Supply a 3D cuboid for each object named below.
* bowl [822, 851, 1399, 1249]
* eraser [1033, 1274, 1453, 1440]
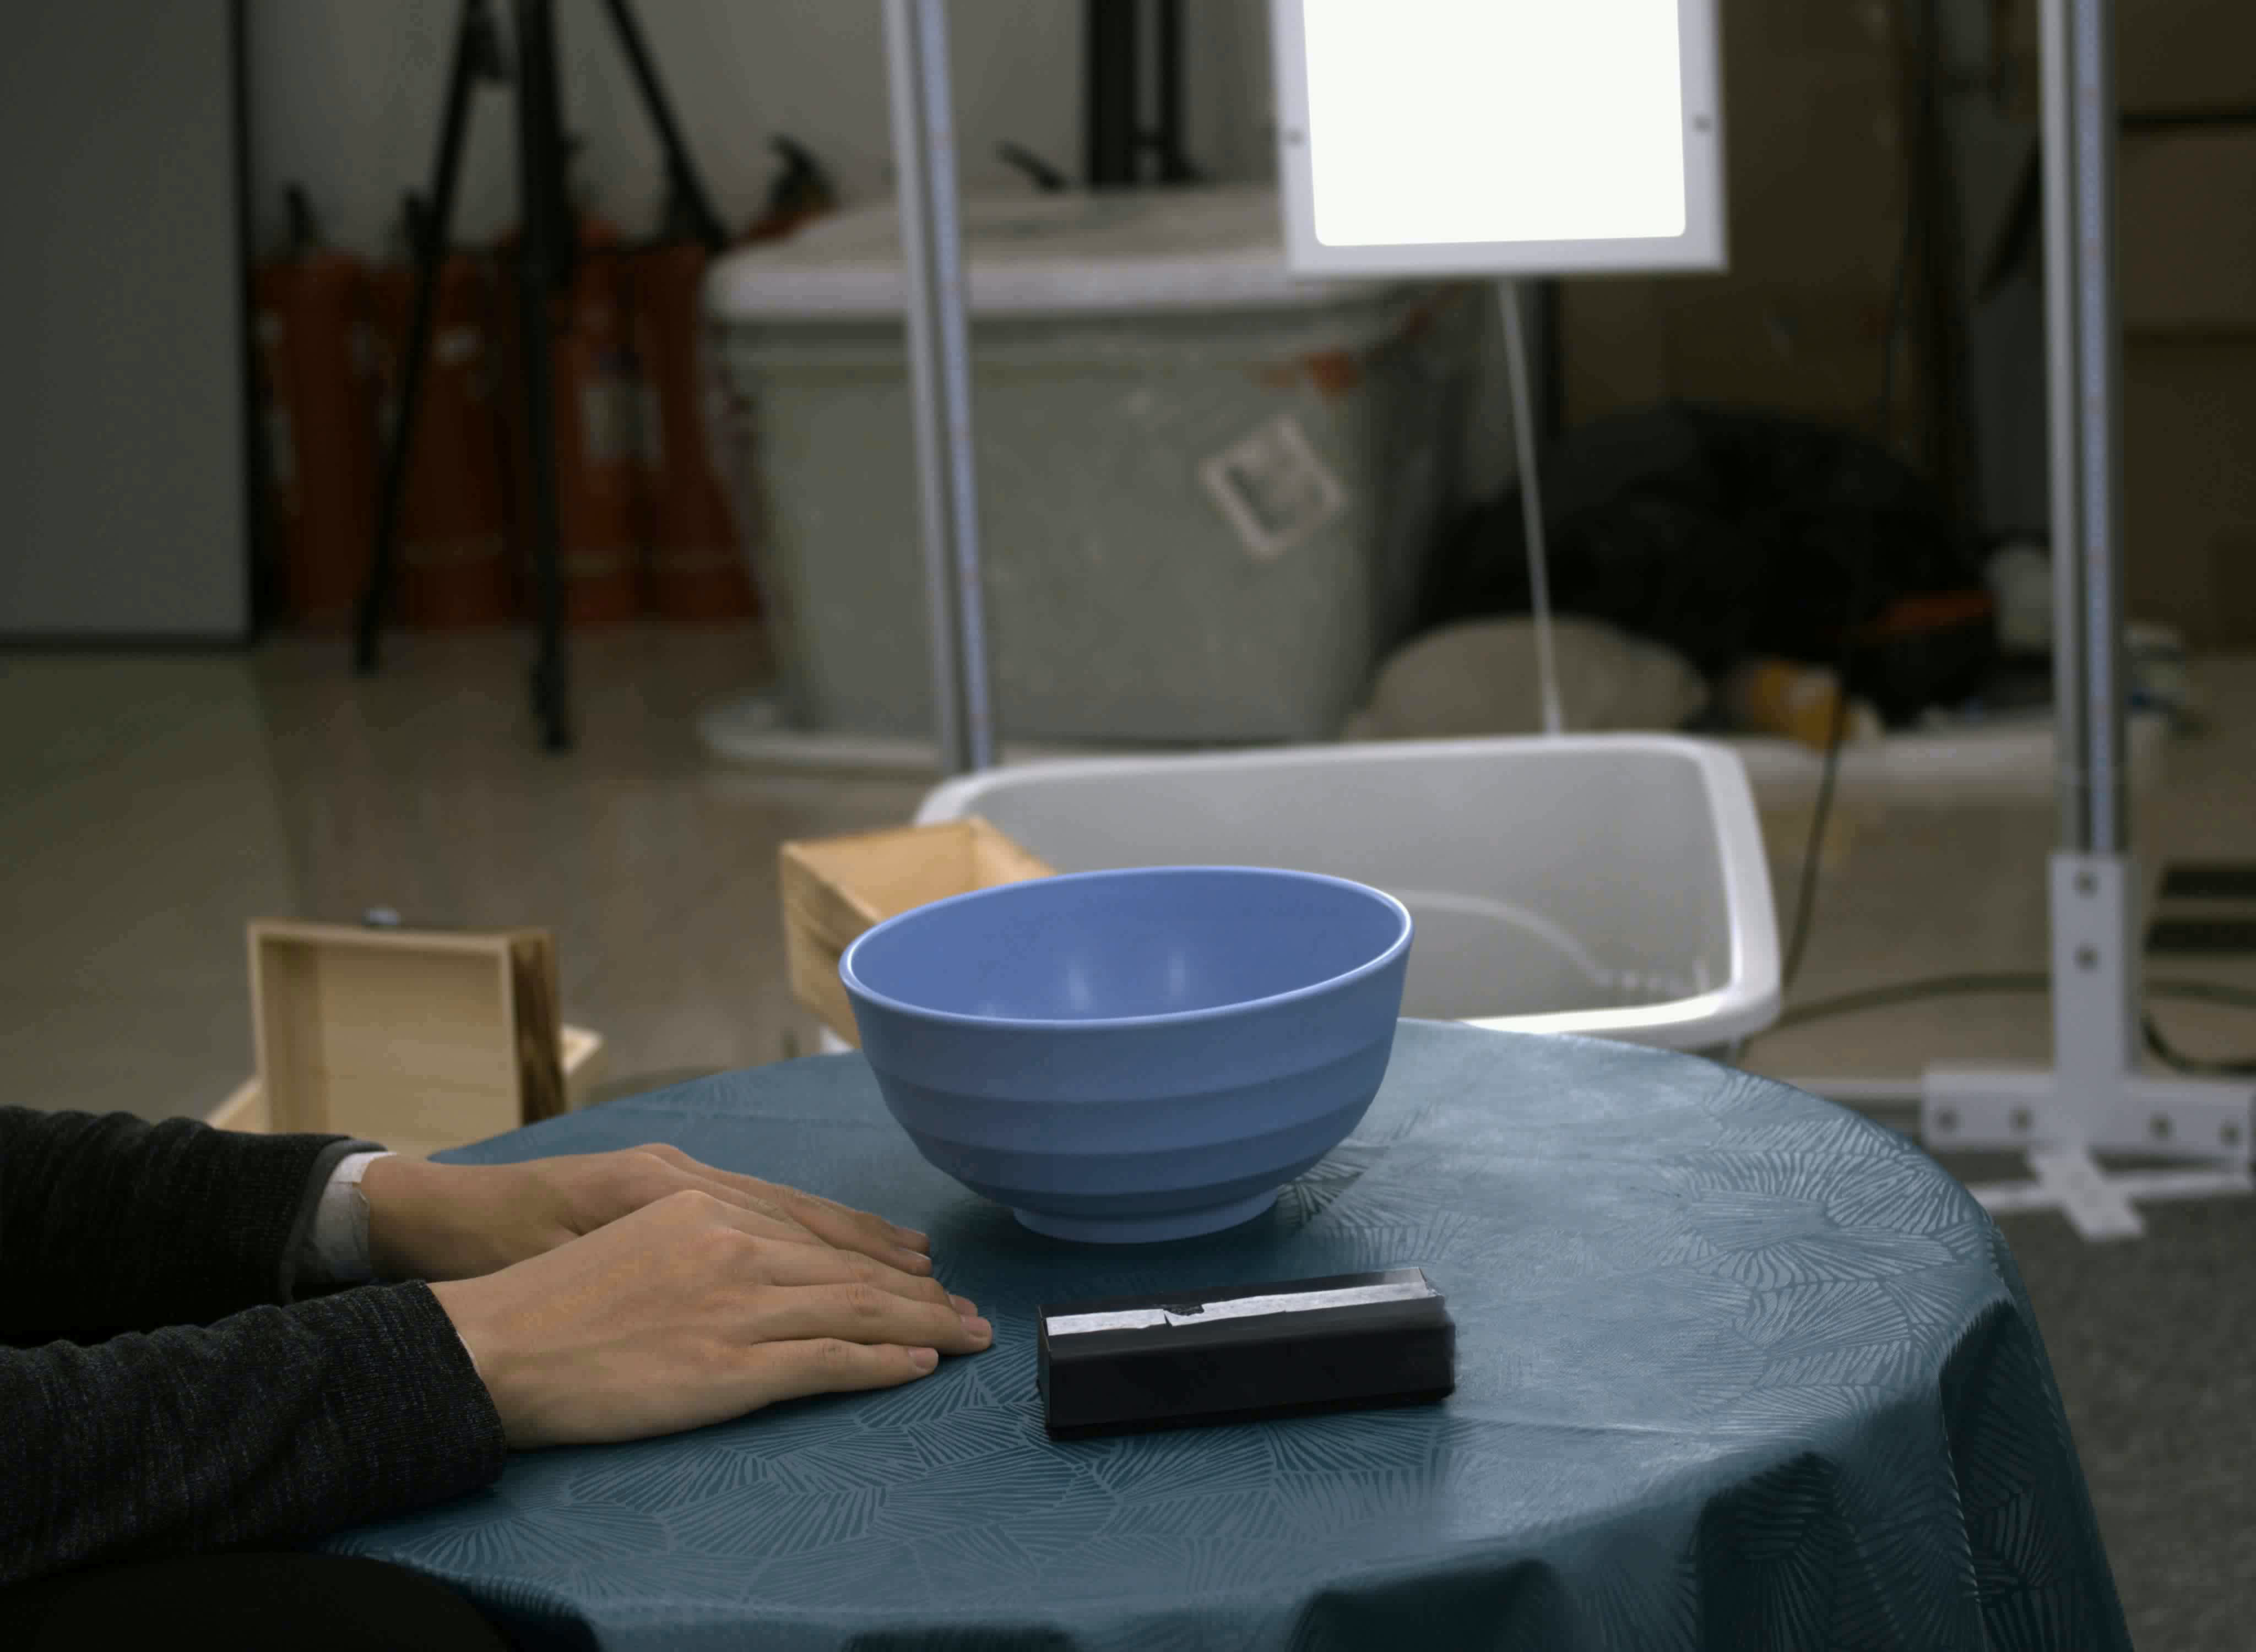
[{"bbox_3d":[-0.005,0.083,1.878,0.196,0.096,0.196,-2,19,-1],"label":"bowl"},{"bbox_3d":[0.036,0.161,1.682,0.125,0.030,0.053,-6,11,-3],"label":"eraser"}]
